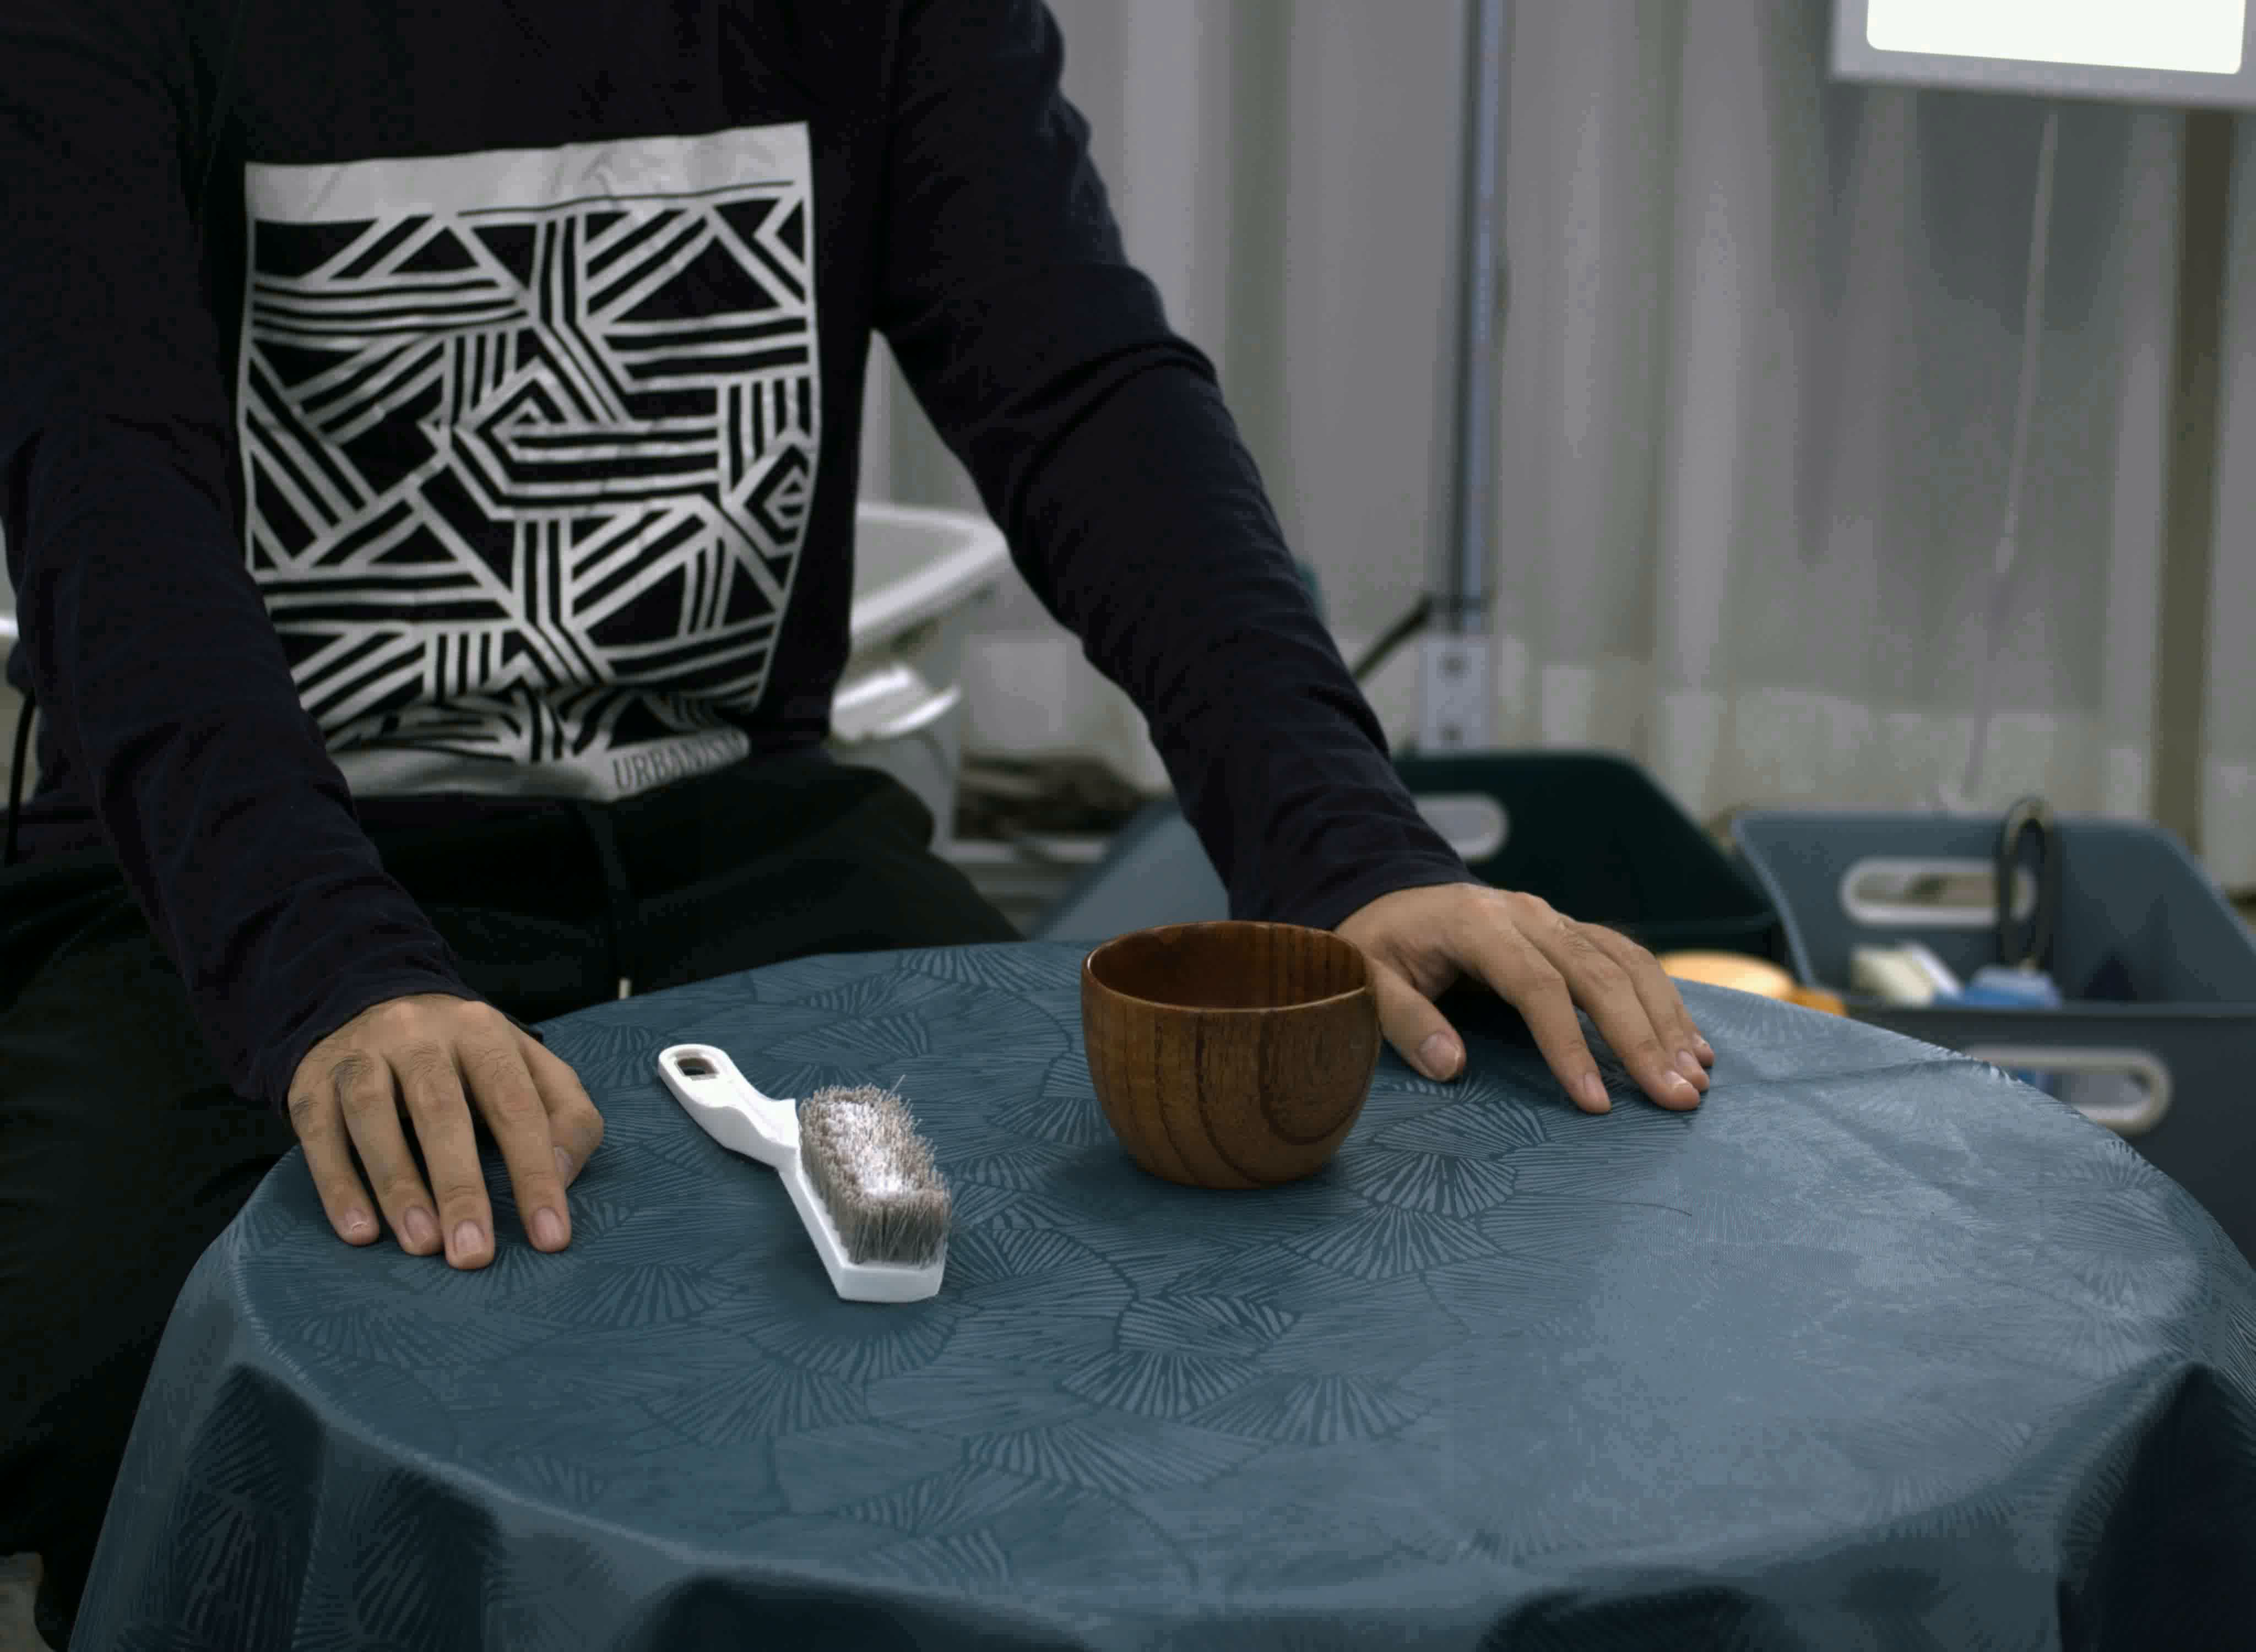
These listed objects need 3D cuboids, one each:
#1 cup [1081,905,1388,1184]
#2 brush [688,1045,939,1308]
[{"bbox_3d":[0.028,0.067,1.658,0.096,0.068,0.118,-9,21,-27],"label":"cup"},{"bbox_3d":[-0.102,0.088,1.622,0.034,0.050,0.241,-8,17,-15],"label":"brush"}]
